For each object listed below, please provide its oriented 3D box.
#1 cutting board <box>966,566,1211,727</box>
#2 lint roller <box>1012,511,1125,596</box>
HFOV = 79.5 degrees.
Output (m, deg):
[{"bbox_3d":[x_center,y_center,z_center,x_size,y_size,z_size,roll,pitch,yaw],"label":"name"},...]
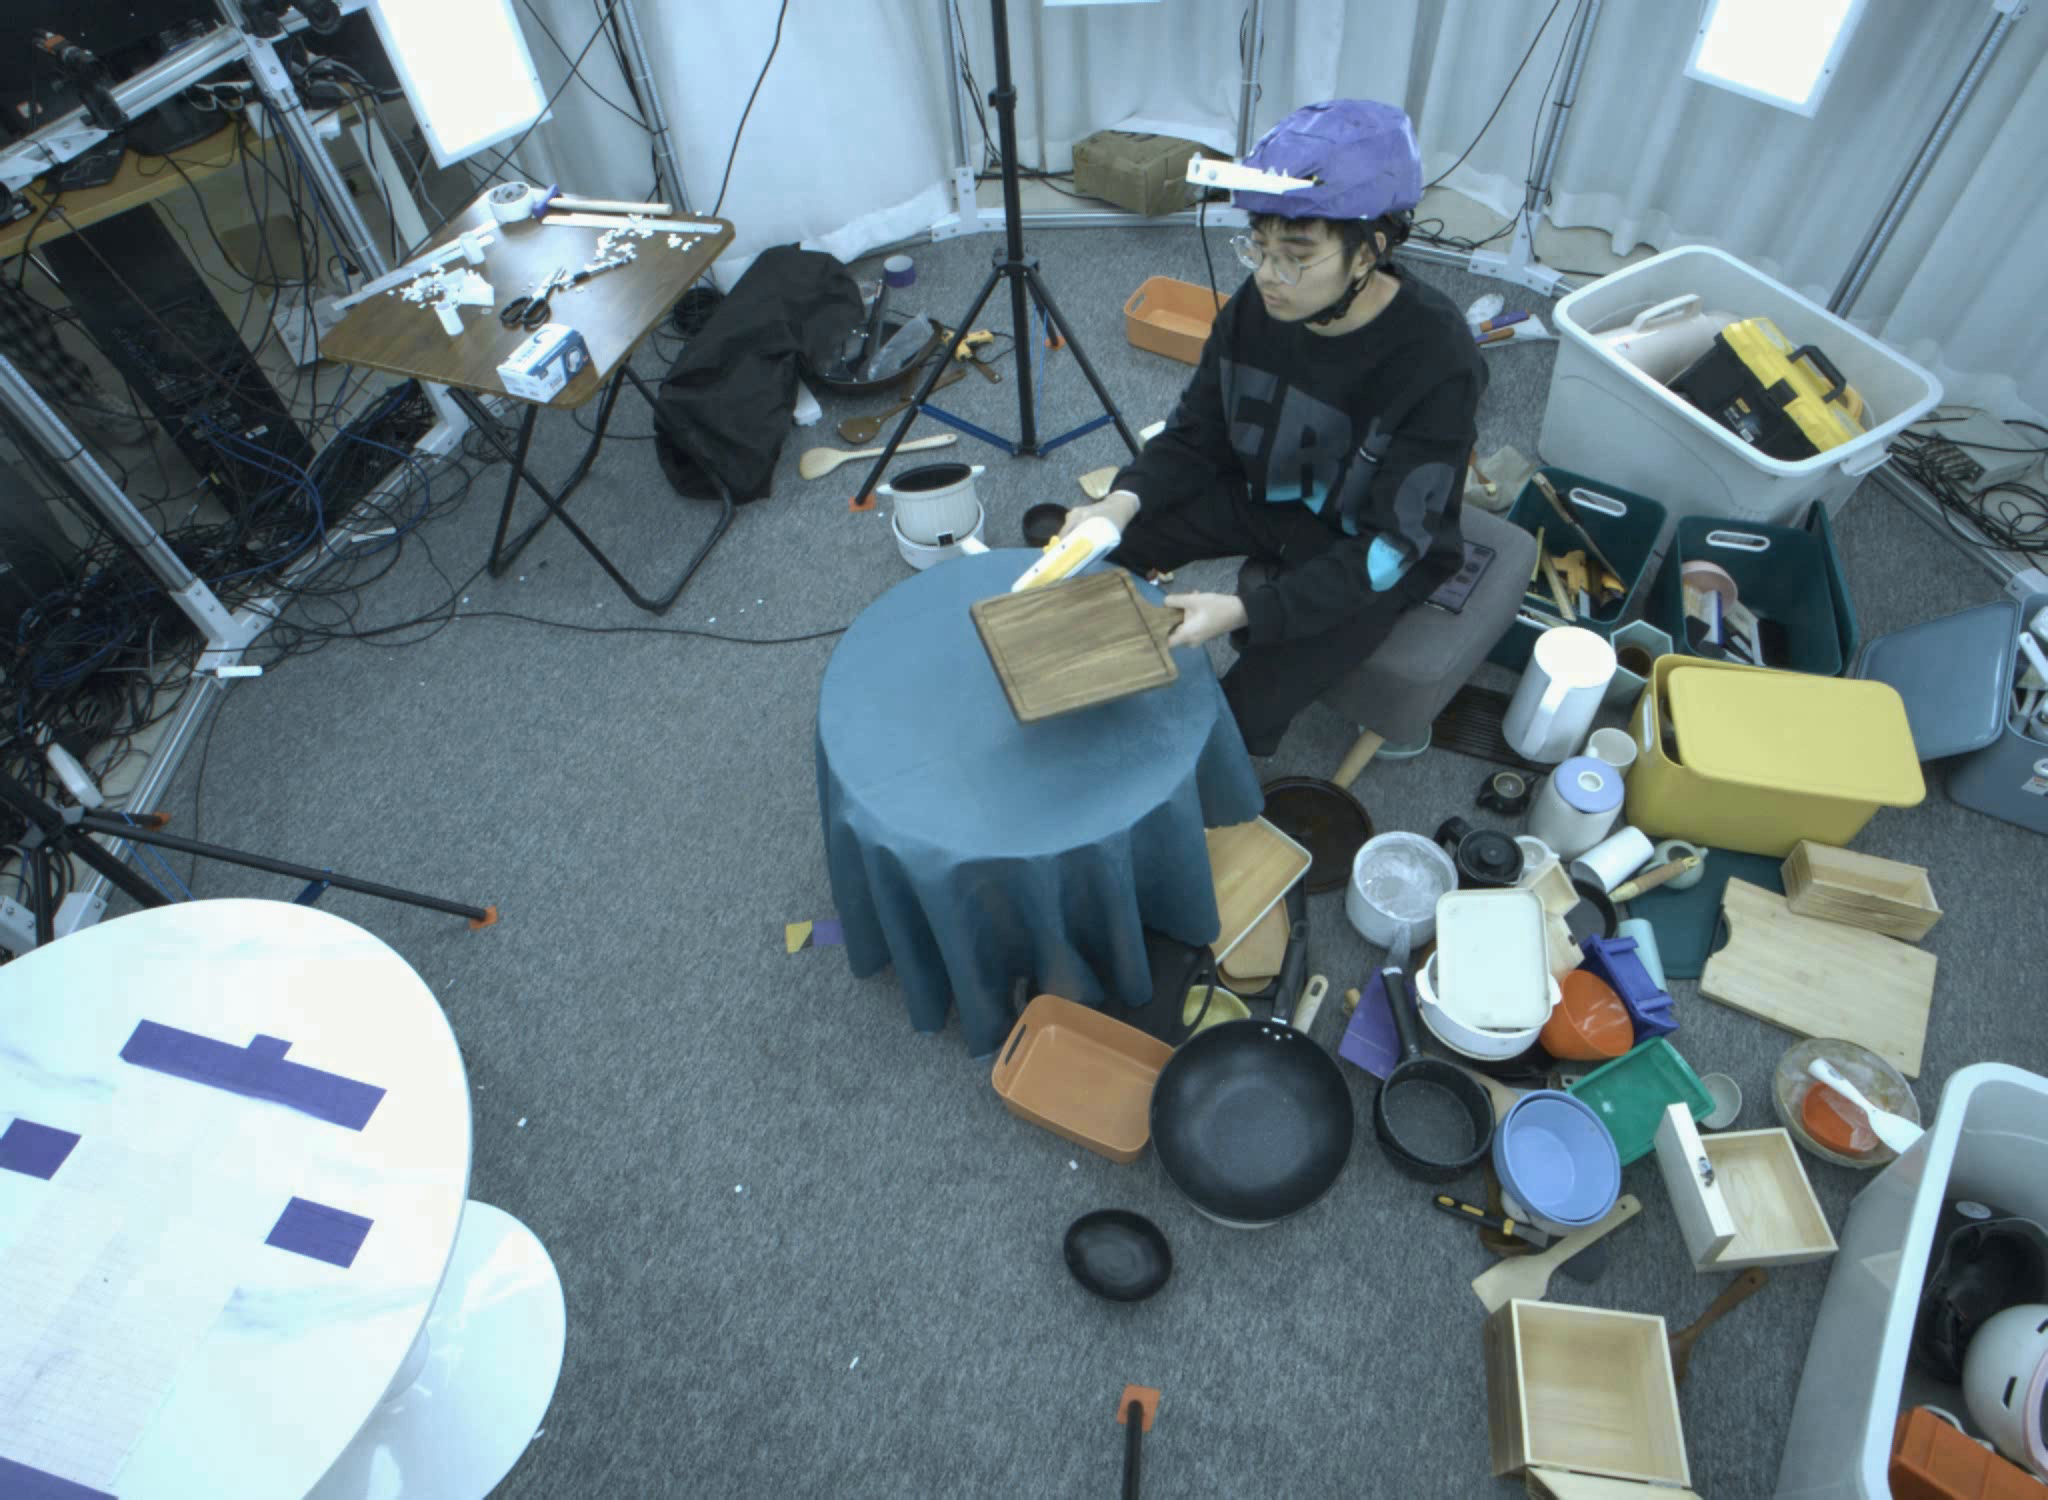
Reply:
[{"bbox_3d":[0.113,-0.163,1.739,0.357,0.023,0.199,-17,71,-22],"label":"cutting board"},{"bbox_3d":[0.076,-0.297,1.827,0.074,0.191,0.193,48,28,-2],"label":"lint roller"}]
